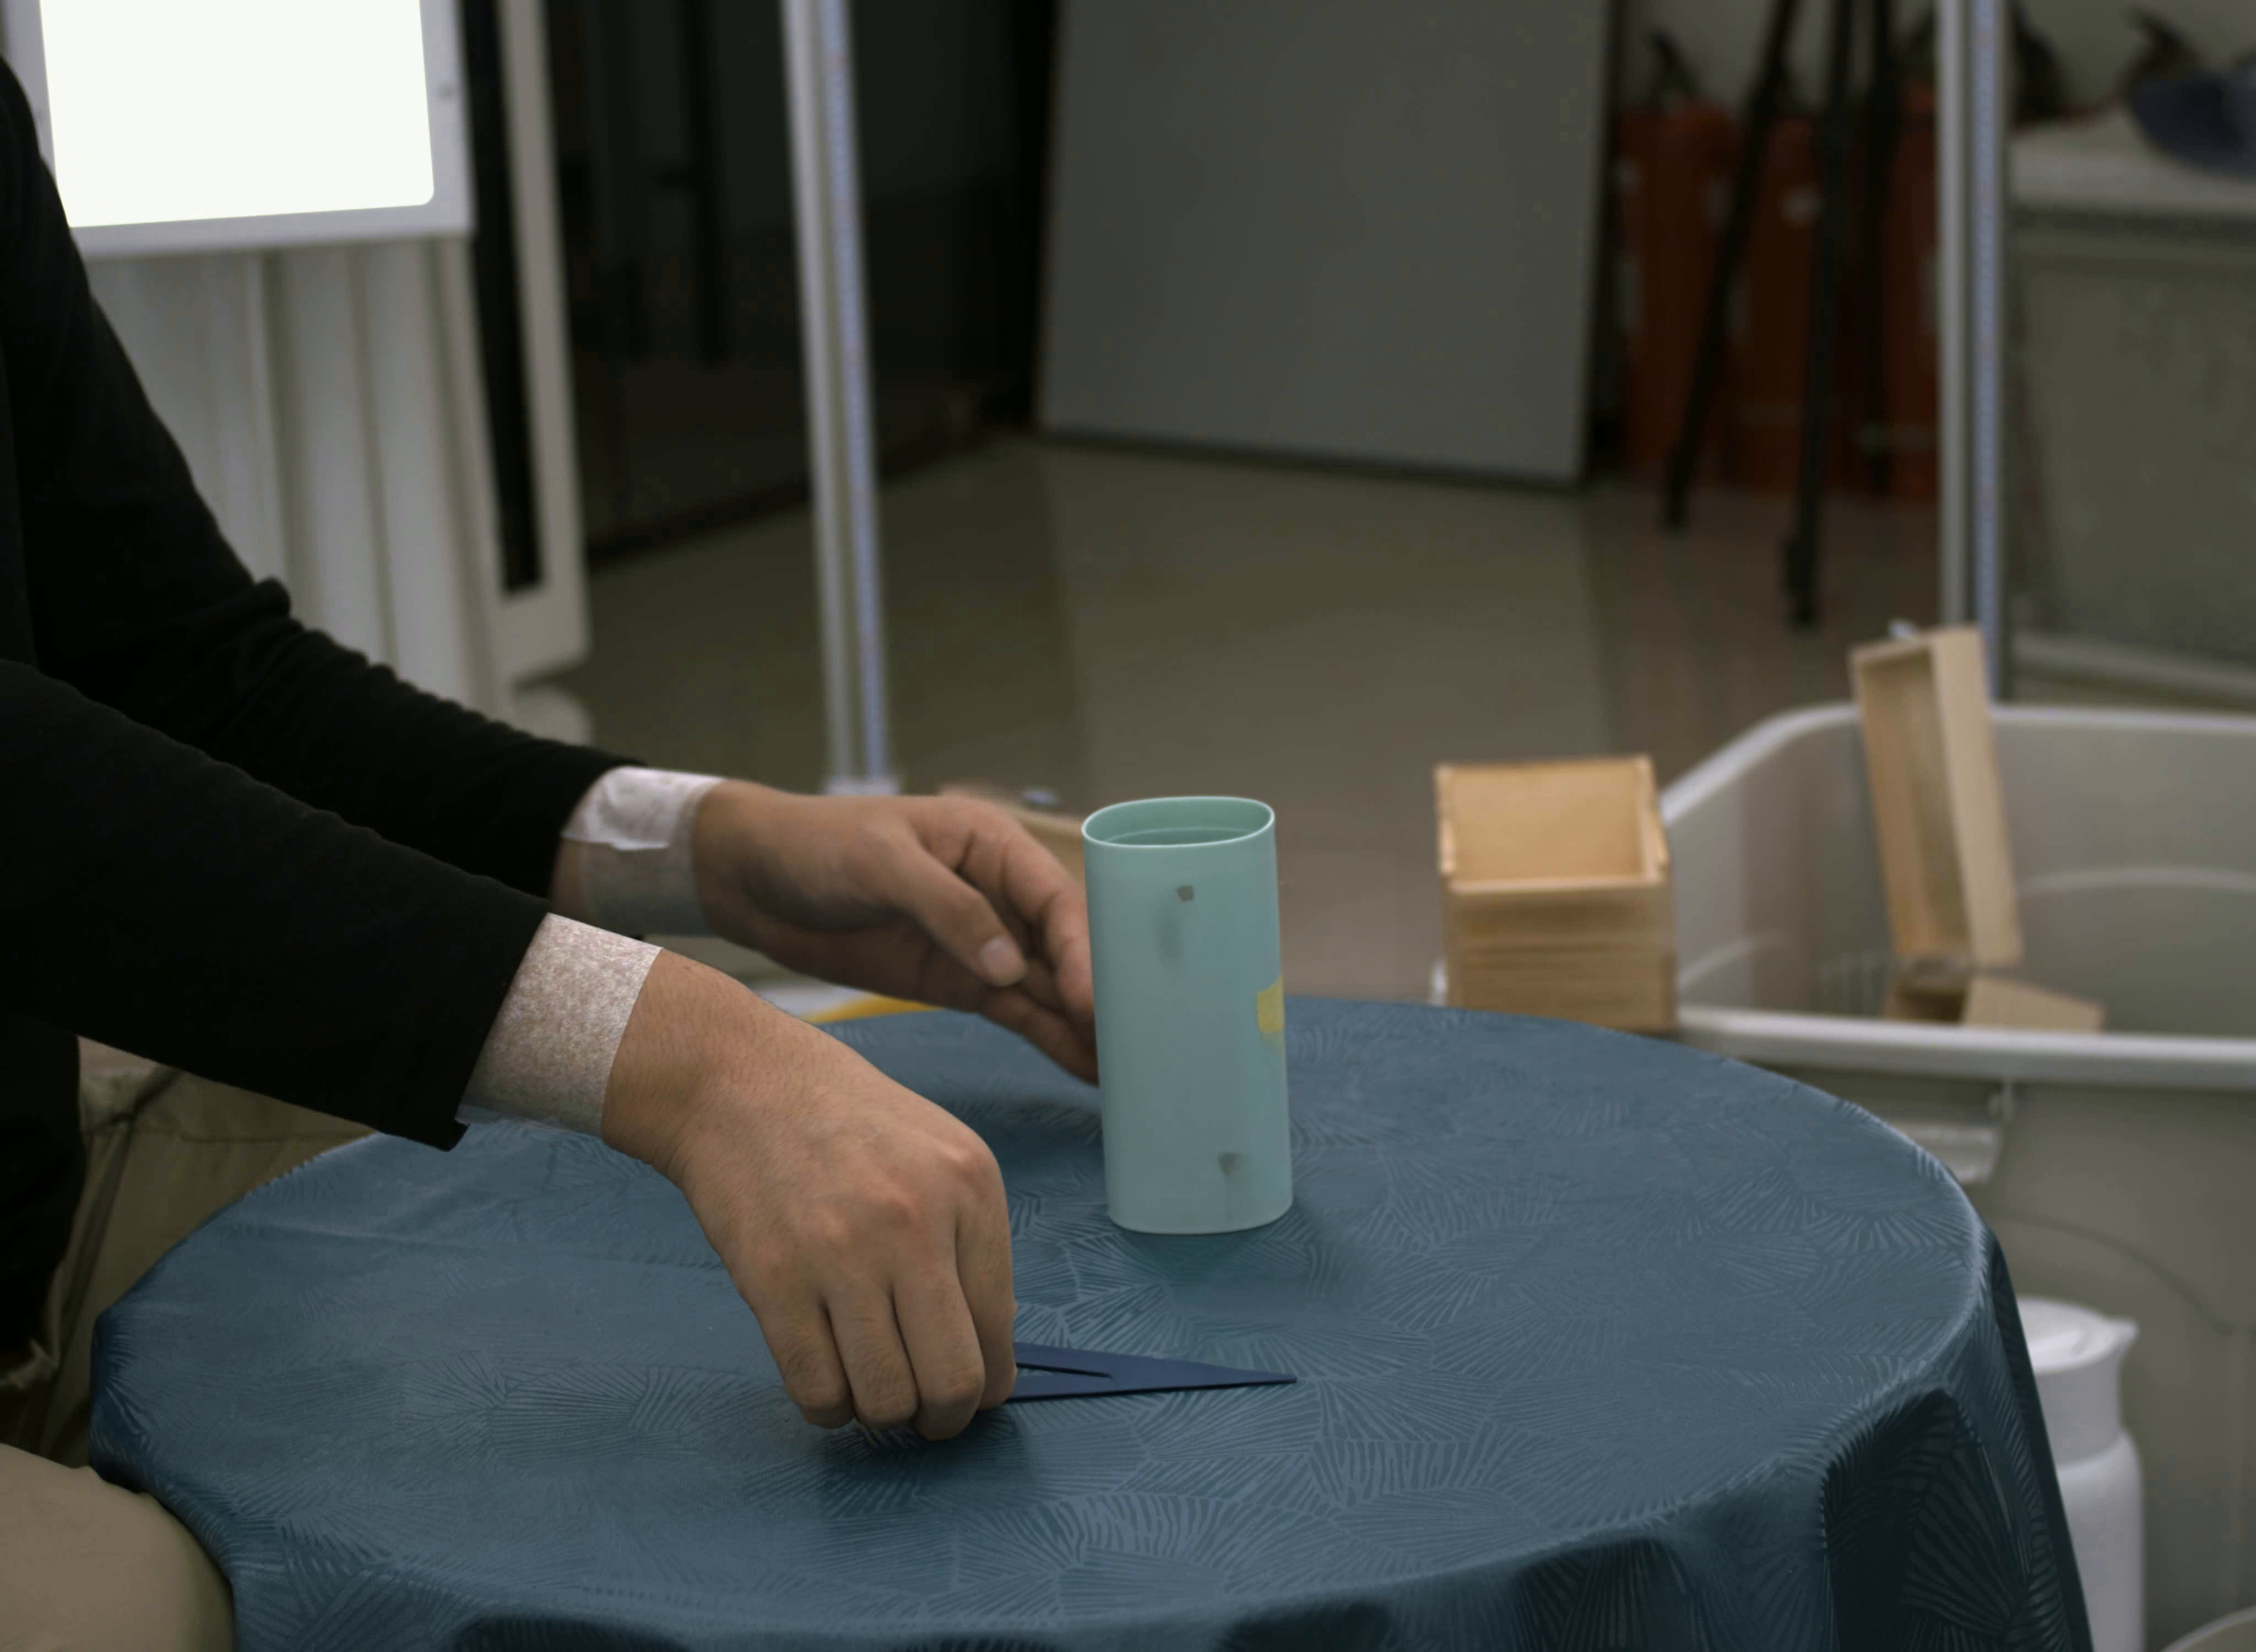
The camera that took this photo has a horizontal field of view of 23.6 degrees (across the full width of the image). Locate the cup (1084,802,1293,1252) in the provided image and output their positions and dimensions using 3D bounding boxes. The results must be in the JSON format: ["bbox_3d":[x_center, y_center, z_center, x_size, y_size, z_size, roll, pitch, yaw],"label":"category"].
[{"bbox_3d":[0.019,0.064,1.736,0.066,0.134,0.067,-3,14,0],"label":"cup"}]

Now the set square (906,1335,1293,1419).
[{"bbox_3d":[-0.018,0.166,1.581,0.133,0.006,0.060,7,16,33],"label":"set square"}]
